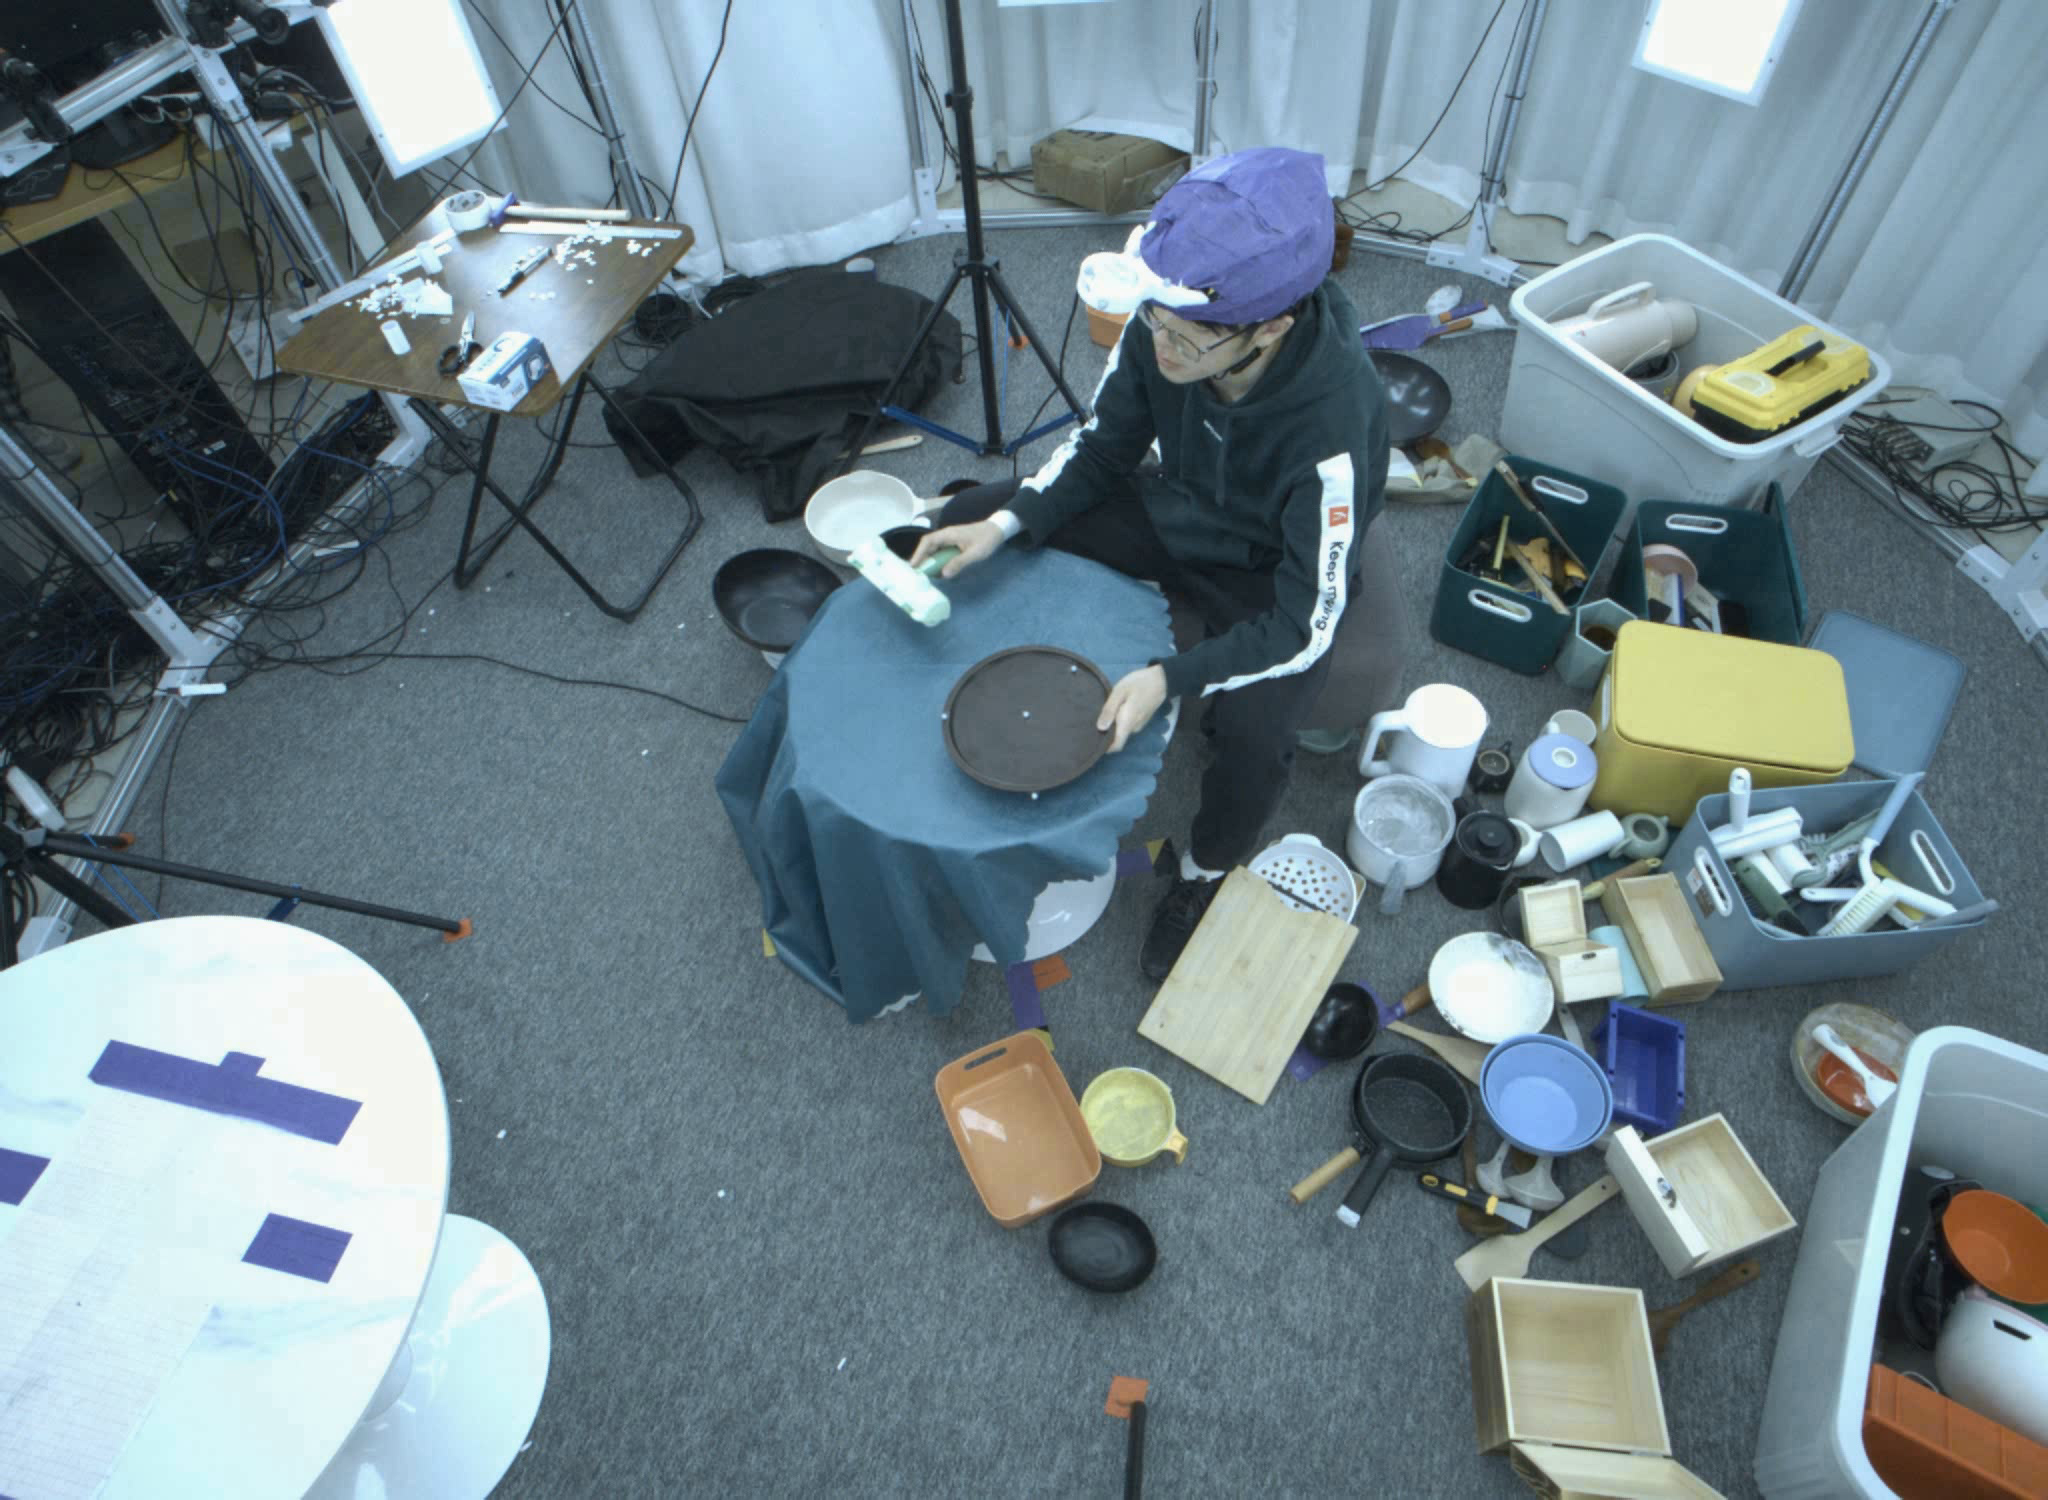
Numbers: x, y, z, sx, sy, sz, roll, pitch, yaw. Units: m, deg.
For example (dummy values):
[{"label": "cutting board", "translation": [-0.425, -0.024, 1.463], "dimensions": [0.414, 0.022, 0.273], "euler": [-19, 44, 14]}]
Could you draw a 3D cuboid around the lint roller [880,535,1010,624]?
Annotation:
[{"label": "lint roller", "translation": [-0.100, -0.295, 1.895], "dimensions": [0.184, 0.083, 0.194], "euler": [-34, 55, -19]}]

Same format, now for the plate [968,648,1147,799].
[{"label": "plate", "translation": [0.047, -0.039, 1.740], "dimensions": [0.254, 0.029, 0.252], "euler": [-3, 58, 5]}]
